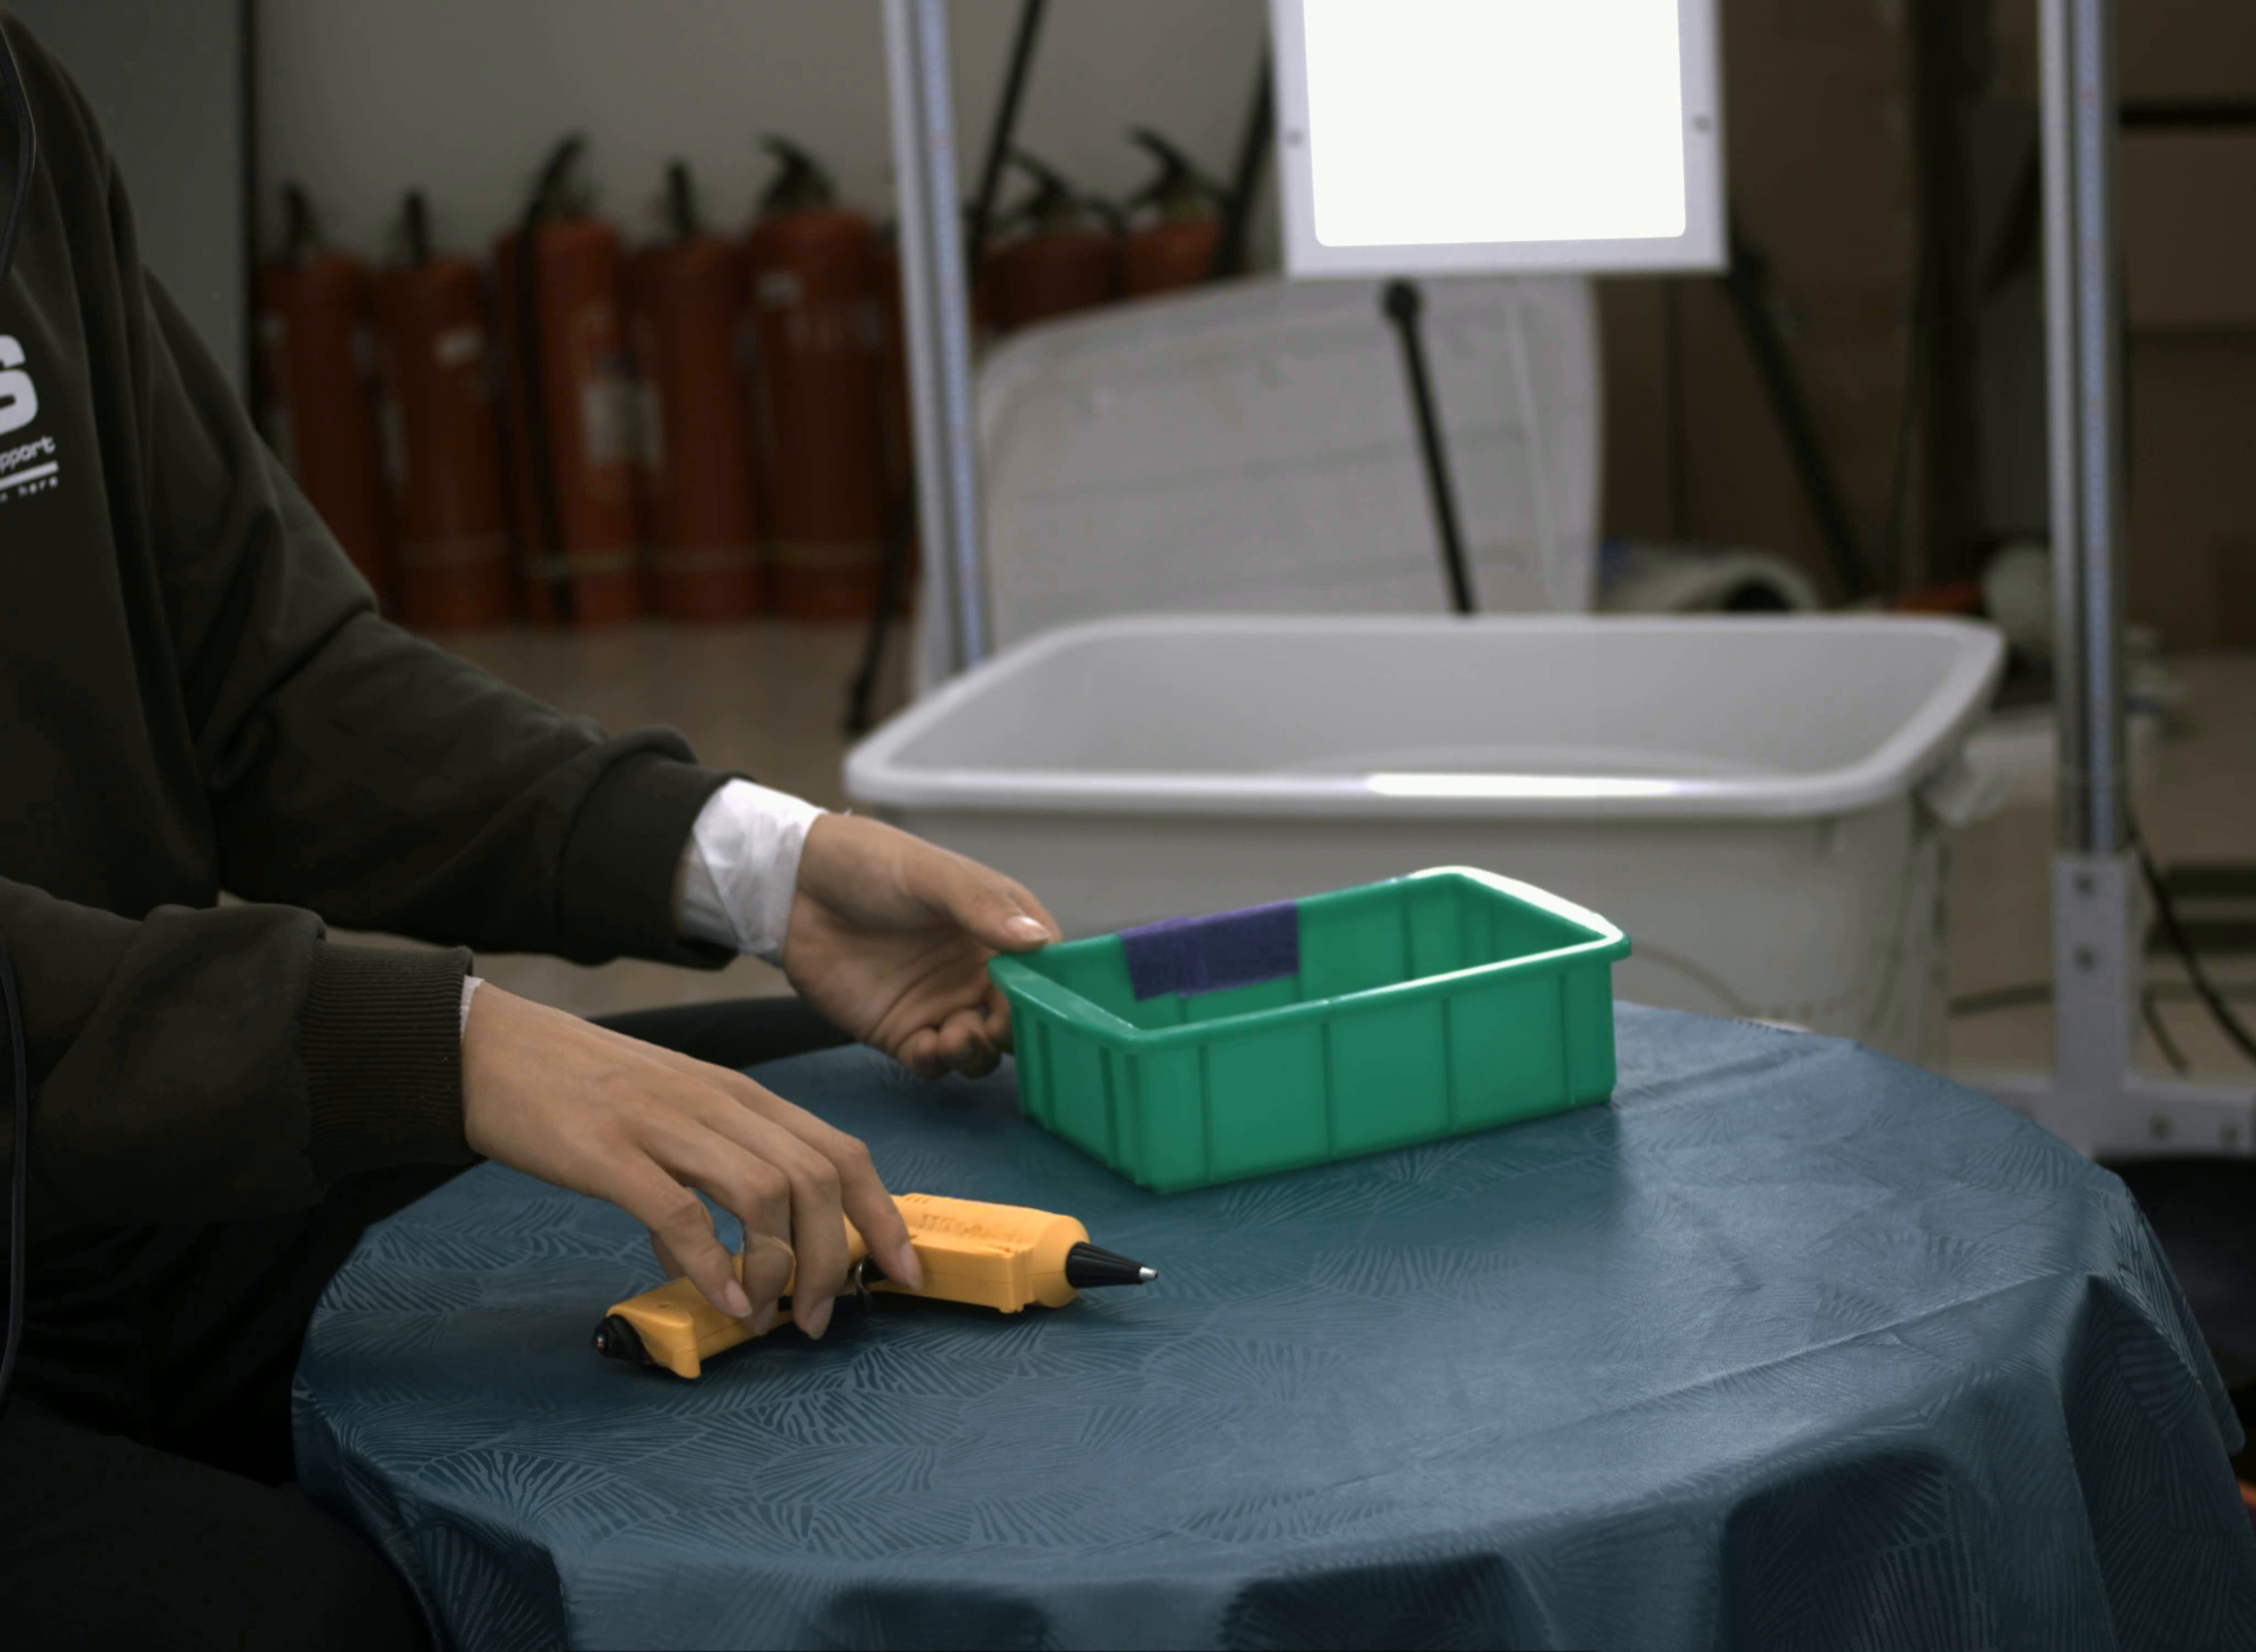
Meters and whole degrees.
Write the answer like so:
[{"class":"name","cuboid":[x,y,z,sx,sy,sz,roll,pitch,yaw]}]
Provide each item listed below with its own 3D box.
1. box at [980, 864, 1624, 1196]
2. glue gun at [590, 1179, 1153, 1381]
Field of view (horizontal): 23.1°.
[{"class":"box","cuboid":[0.064,0.072,1.965,0.206,0.065,0.141,-13,14,-21]},{"class":"glue gun","cuboid":[-0.076,0.152,1.773,0.154,0.031,0.130,4,19,32]}]
